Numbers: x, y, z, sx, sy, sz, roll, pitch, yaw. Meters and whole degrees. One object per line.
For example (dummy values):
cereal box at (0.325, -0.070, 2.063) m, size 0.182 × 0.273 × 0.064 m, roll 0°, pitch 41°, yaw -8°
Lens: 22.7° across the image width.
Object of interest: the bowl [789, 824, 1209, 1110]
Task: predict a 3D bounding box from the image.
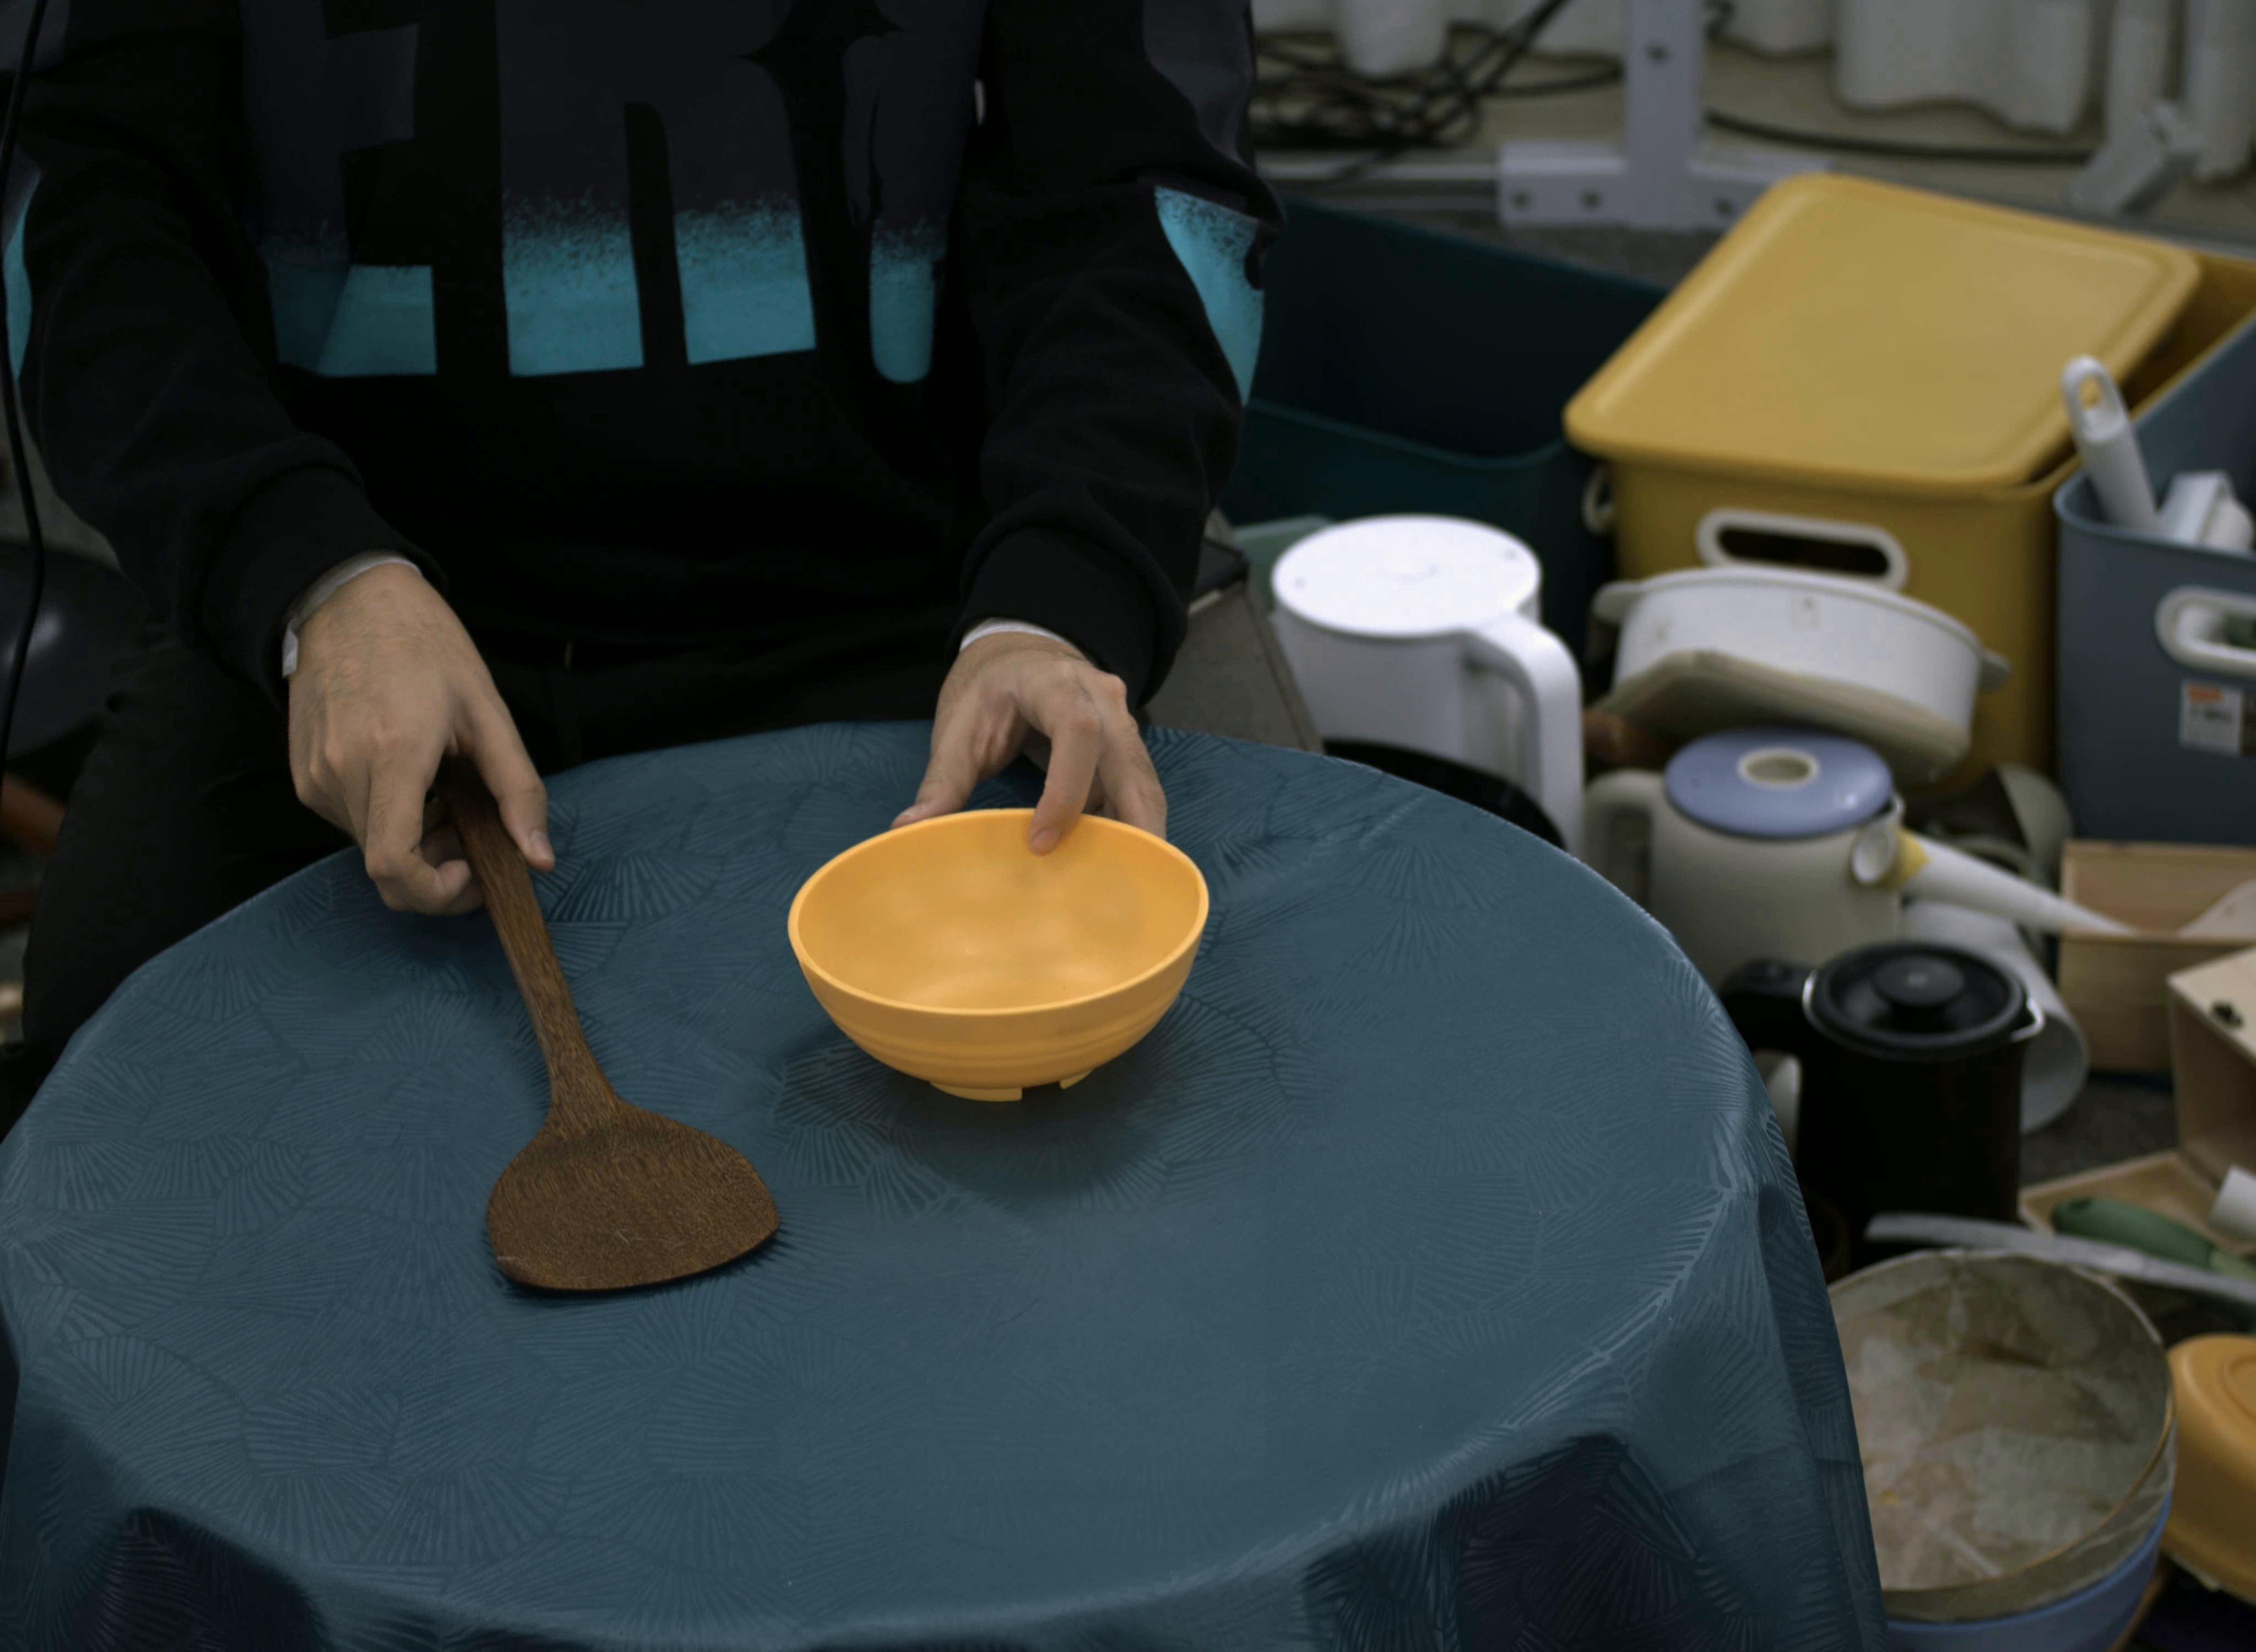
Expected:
bowl at (-0.043, 0.056, 1.933) m, size 0.144 × 0.059 × 0.147 m, roll -1°, pitch 25°, yaw 1°

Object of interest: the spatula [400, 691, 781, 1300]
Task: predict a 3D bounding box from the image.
spatula at (-0.209, 0.050, 1.975) m, size 0.096 × 0.015 × 0.391 m, roll -10°, pitch 35°, yaw -14°
